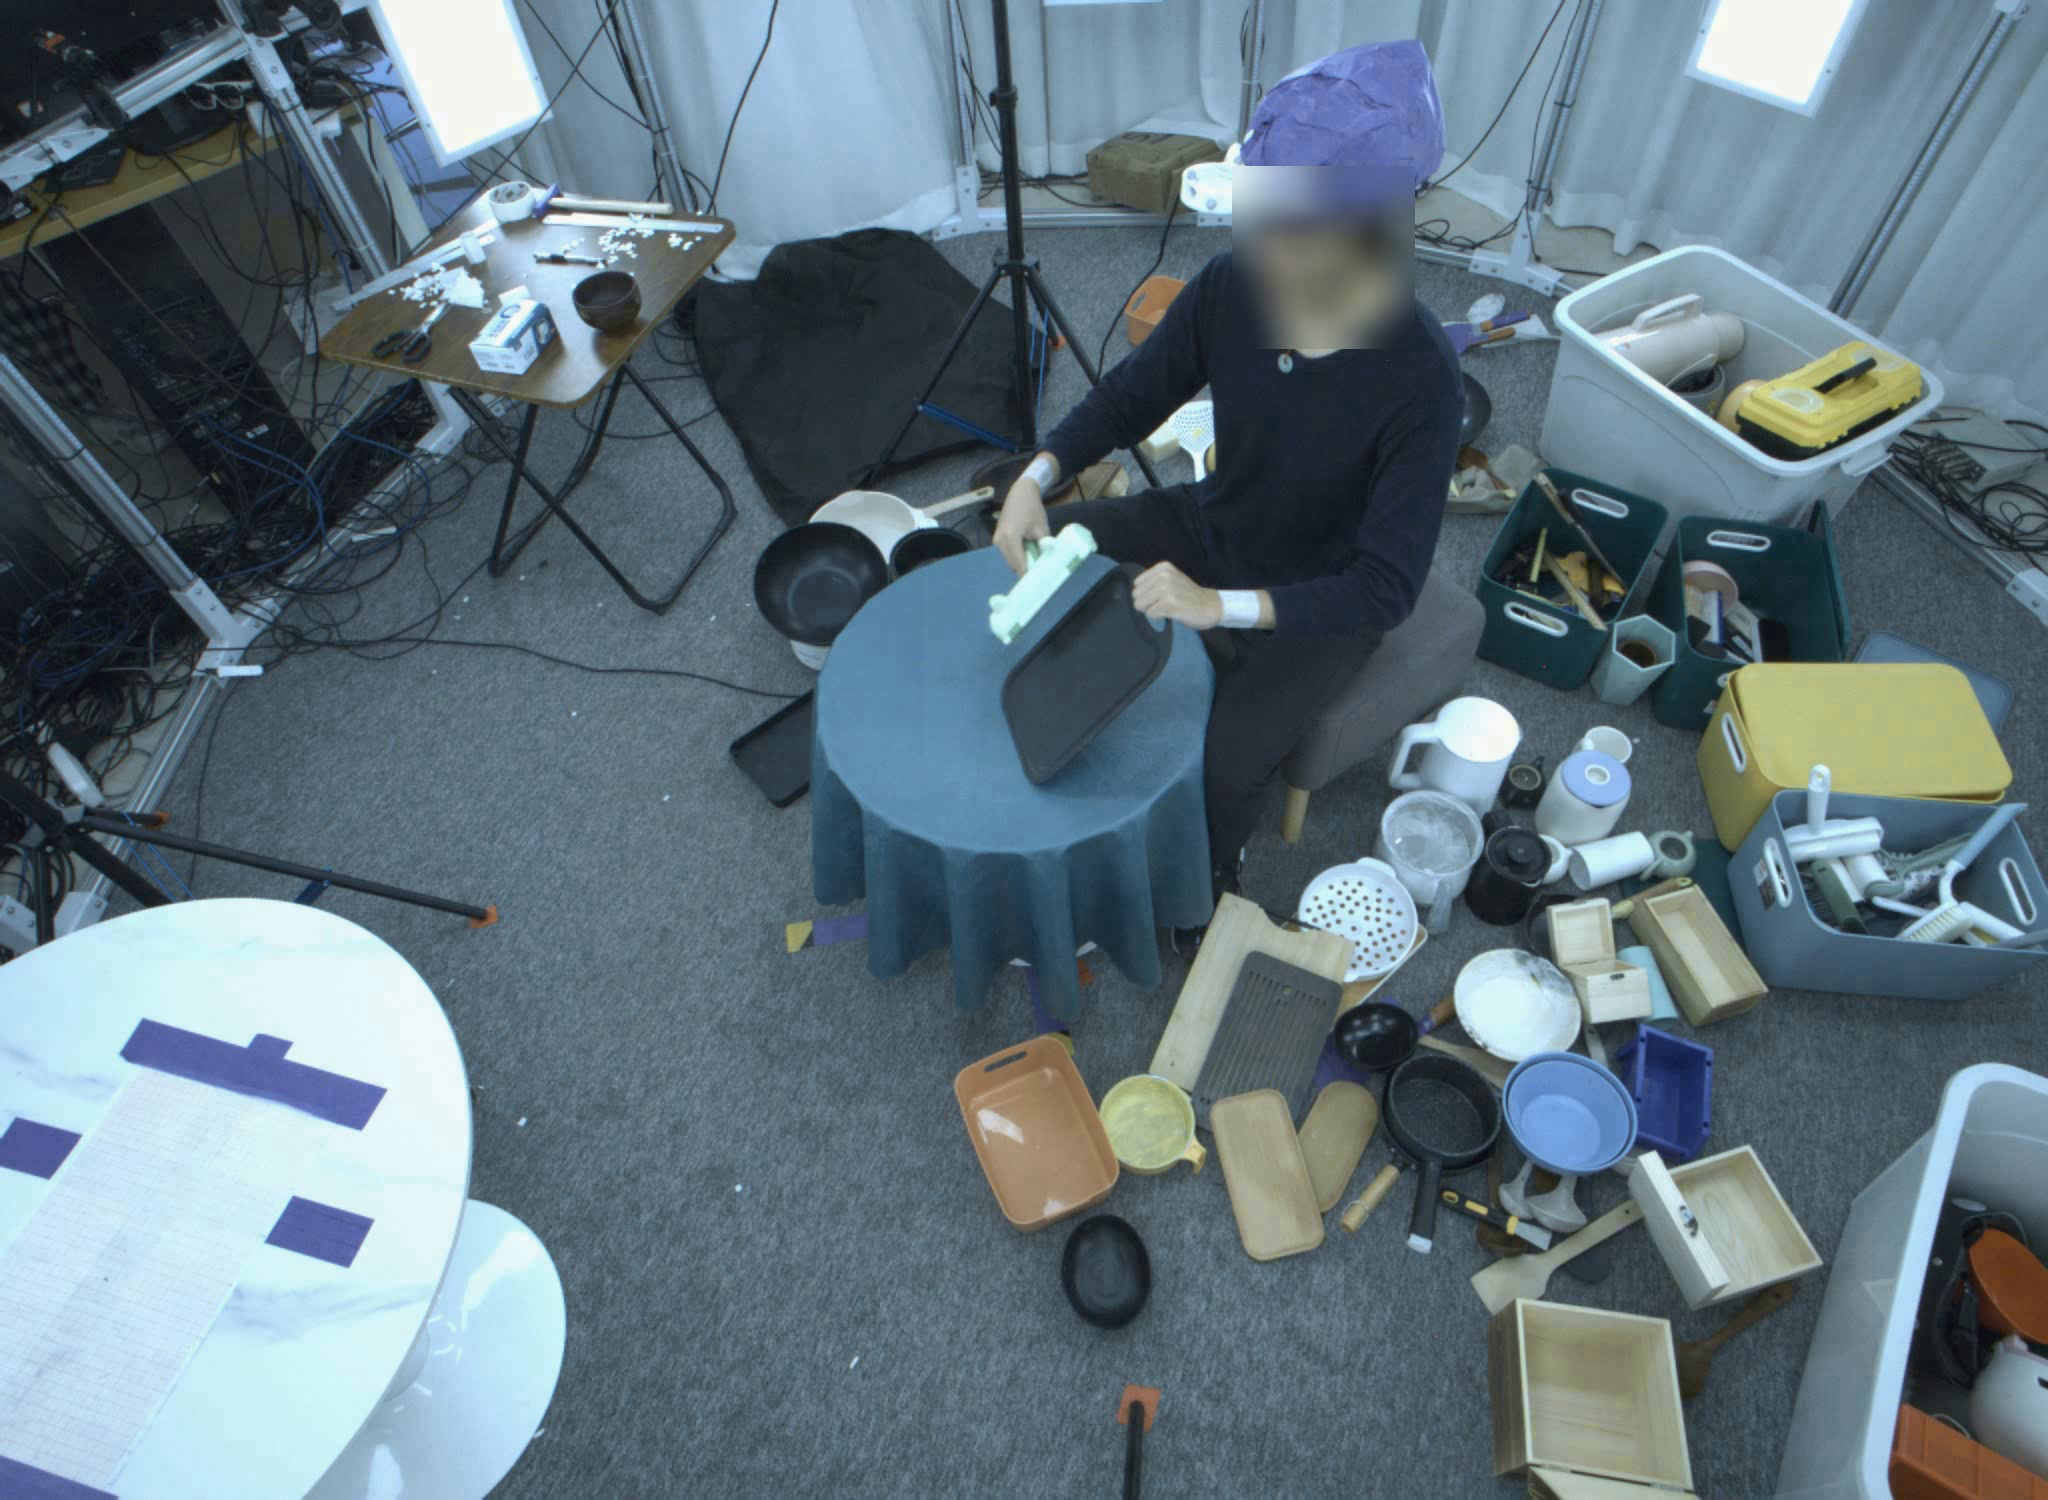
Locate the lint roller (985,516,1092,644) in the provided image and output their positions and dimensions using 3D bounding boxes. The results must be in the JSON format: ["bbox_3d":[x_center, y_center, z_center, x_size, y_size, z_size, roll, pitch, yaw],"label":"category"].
[{"bbox_3d":[-0.007,-0.279,1.755,0.084,0.197,0.180,9,44,-46],"label":"lint roller"}]

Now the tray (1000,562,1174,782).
[{"bbox_3d":[0.083,-0.114,1.718,0.010,0.323,0.207,17,42,-41],"label":"tray"}]
